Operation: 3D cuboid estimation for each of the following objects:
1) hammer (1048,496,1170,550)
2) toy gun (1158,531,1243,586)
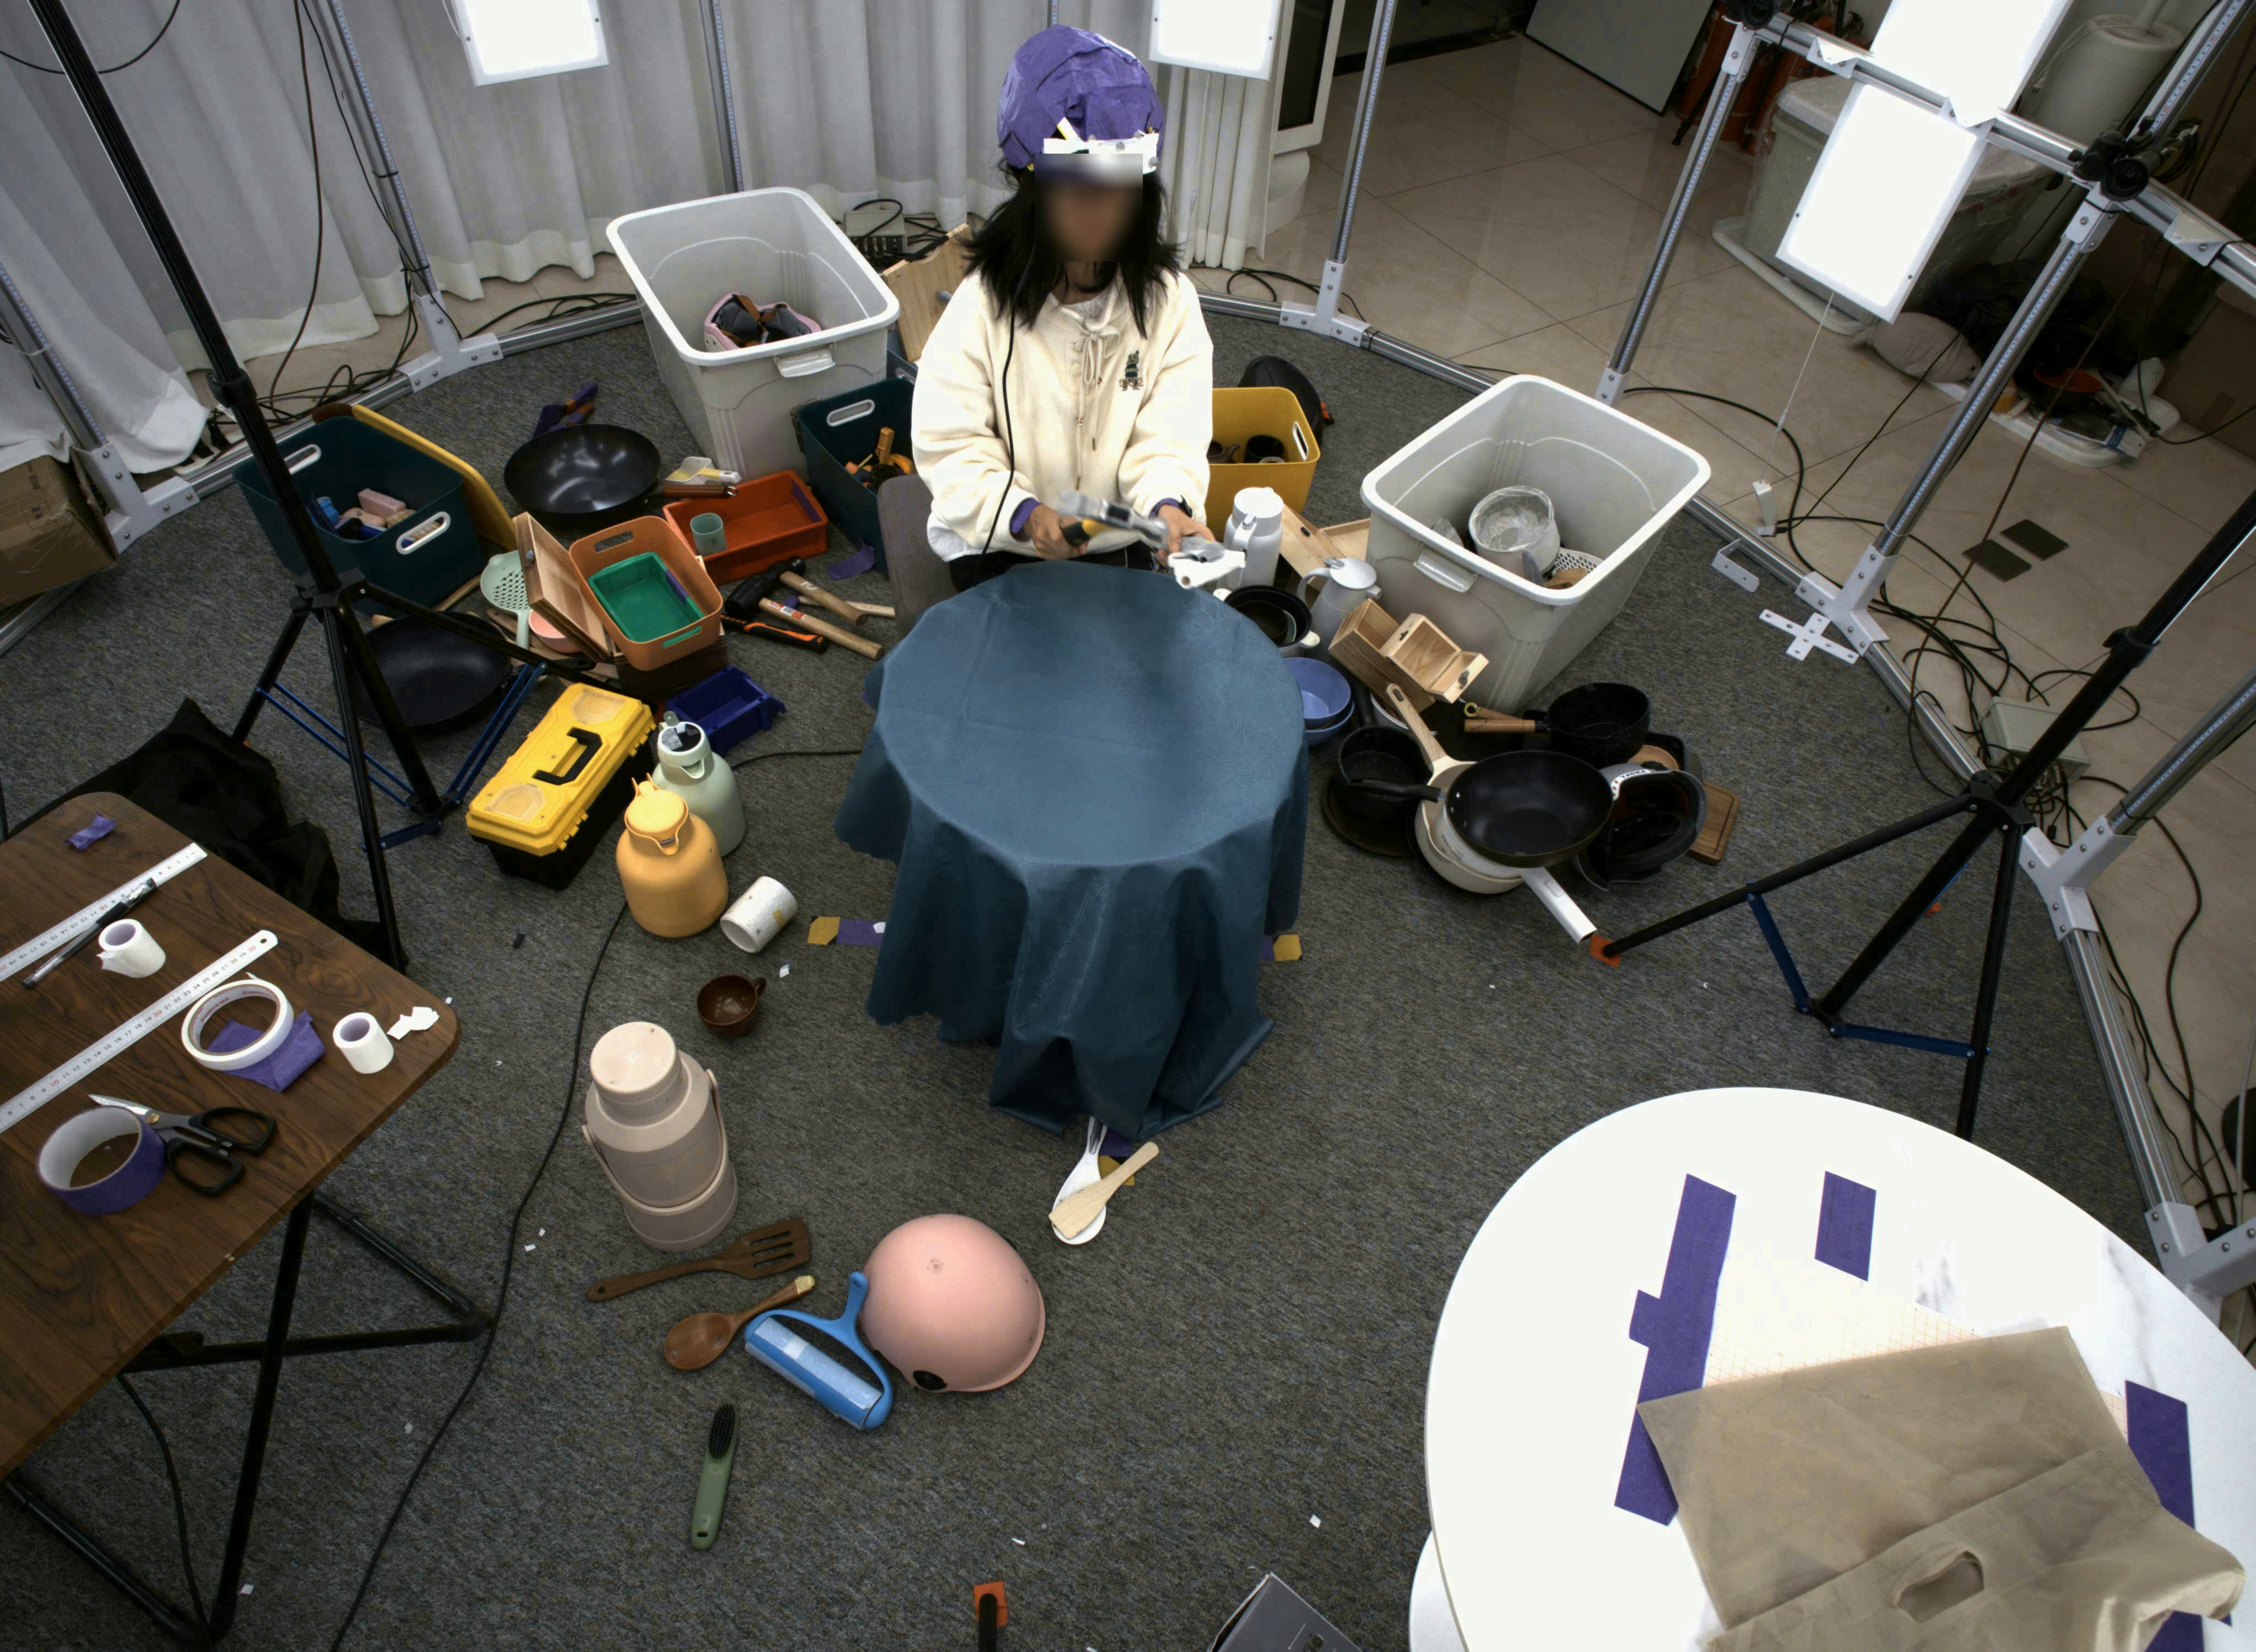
[{"bbox_3d":[-0.054,-0.406,1.765,0.130,0.032,0.341,12,4,-17],"label":"hammer"},{"bbox_3d":[0.077,-0.355,1.703,0.142,0.038,0.211,12,26,25],"label":"toy gun"}]
